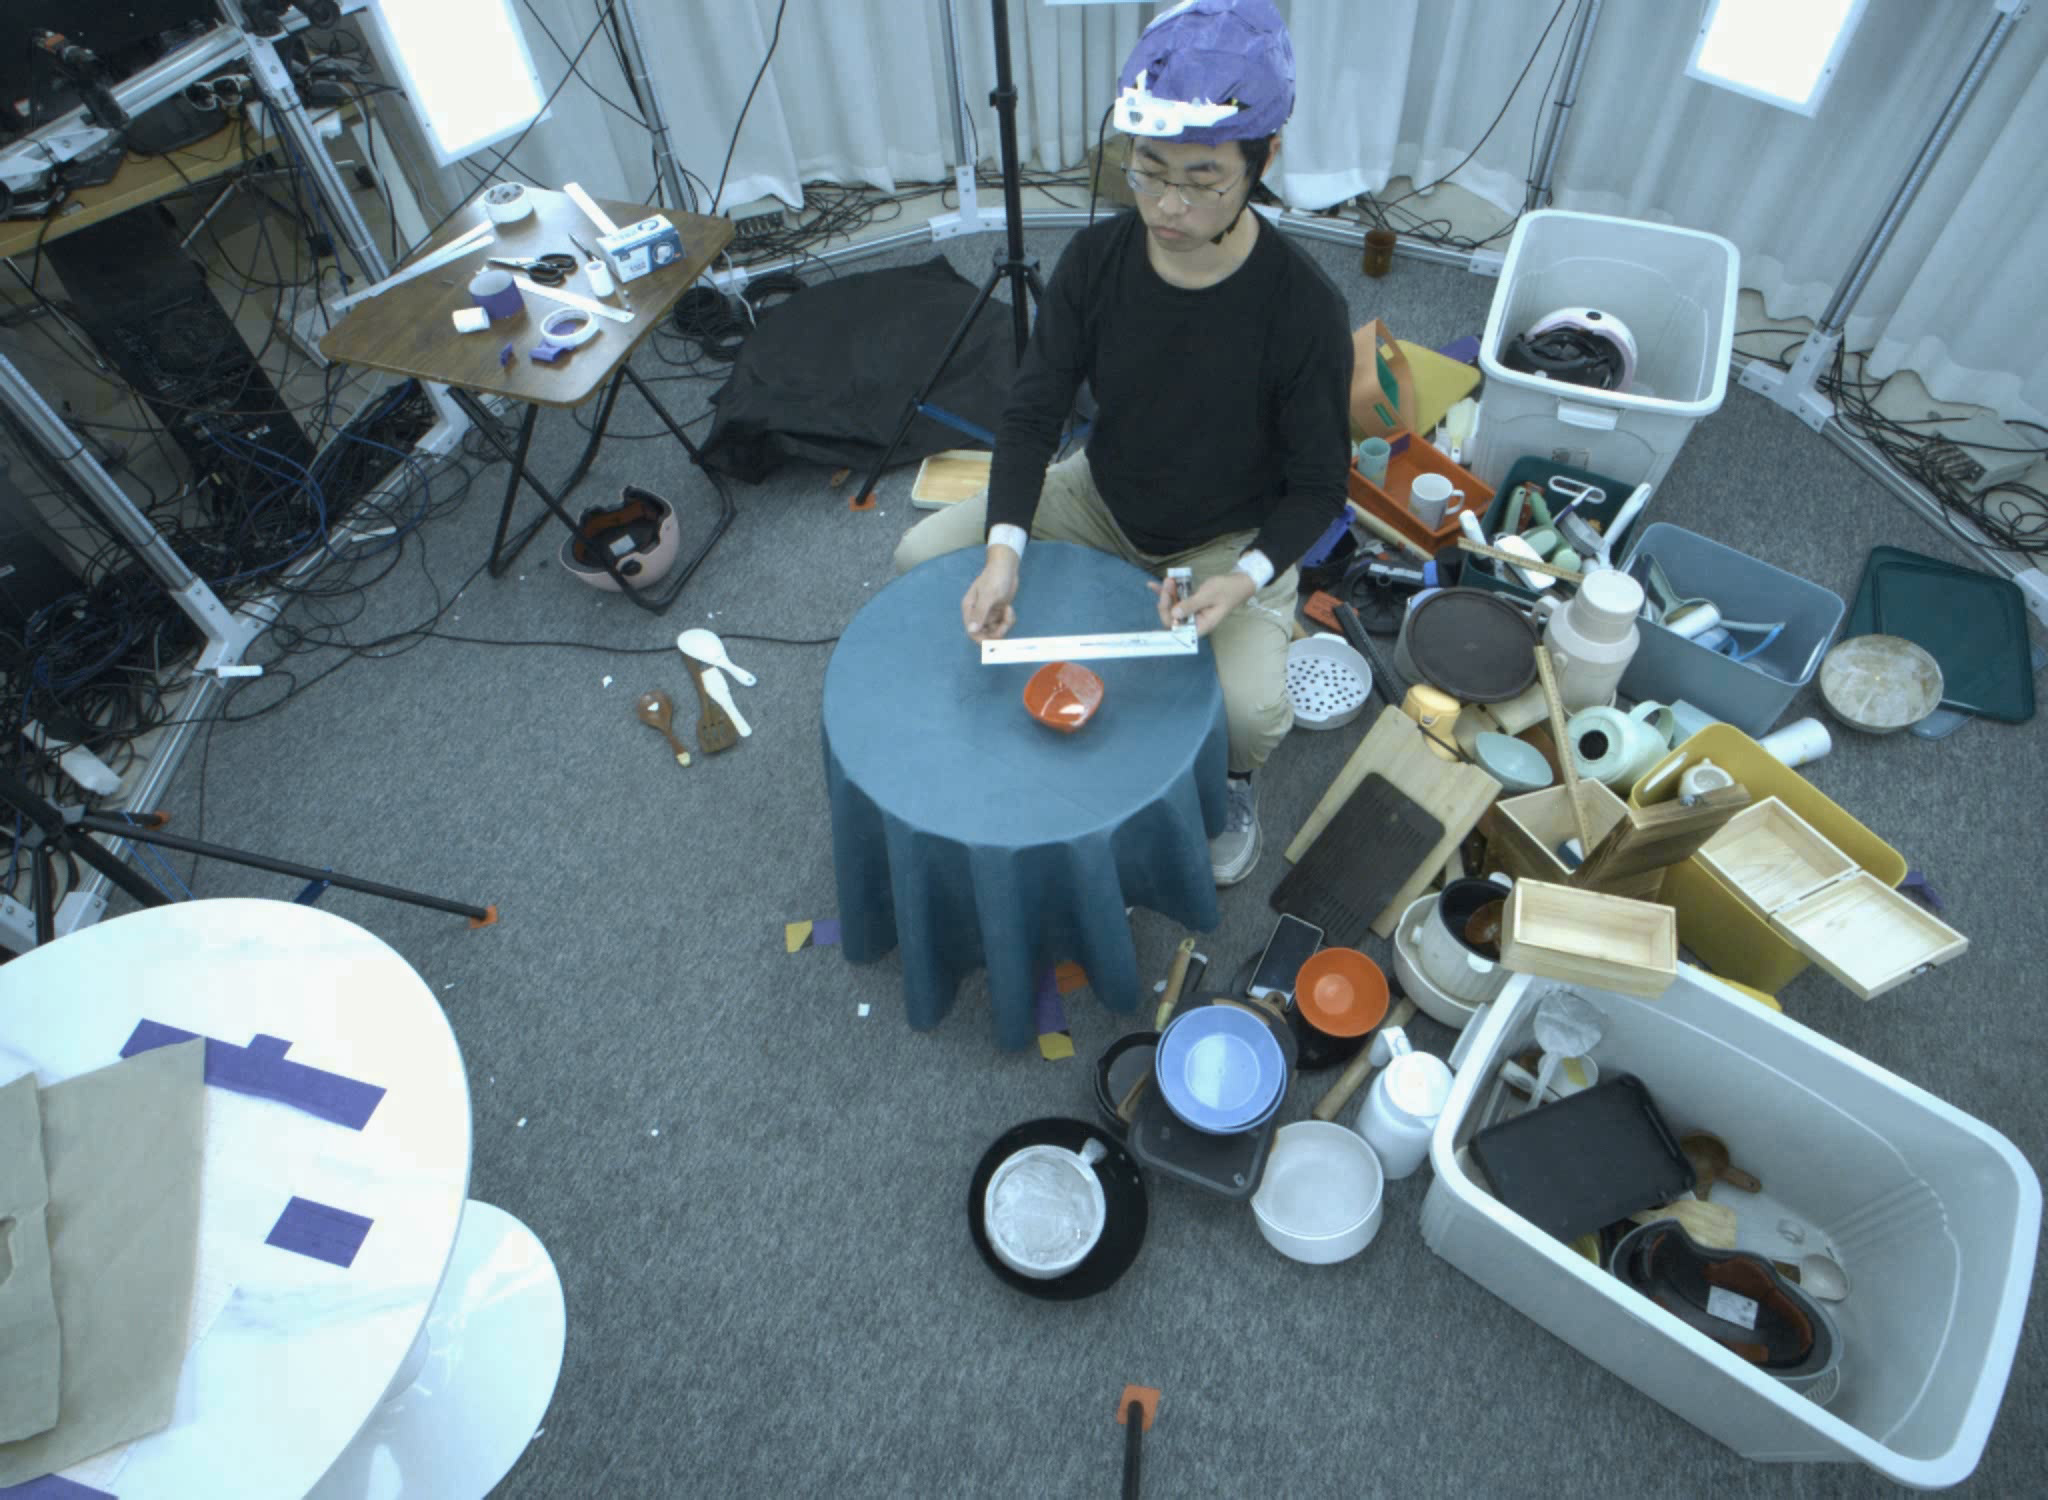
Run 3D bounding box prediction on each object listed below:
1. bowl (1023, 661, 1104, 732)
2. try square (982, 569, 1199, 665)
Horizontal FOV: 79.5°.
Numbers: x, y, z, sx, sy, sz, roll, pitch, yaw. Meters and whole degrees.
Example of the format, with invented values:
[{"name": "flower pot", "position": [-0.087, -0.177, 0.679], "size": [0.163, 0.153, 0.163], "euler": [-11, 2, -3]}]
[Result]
[{"name": "bowl", "position": [0.059, -0.071, 1.803], "size": [0.118, 0.052, 0.118], "euler": [-2, 55, 4]}, {"name": "try square", "position": [0.094, -0.194, 1.797], "size": [0.312, 0.016, 0.150], "euler": [-3, 57, 2]}]
